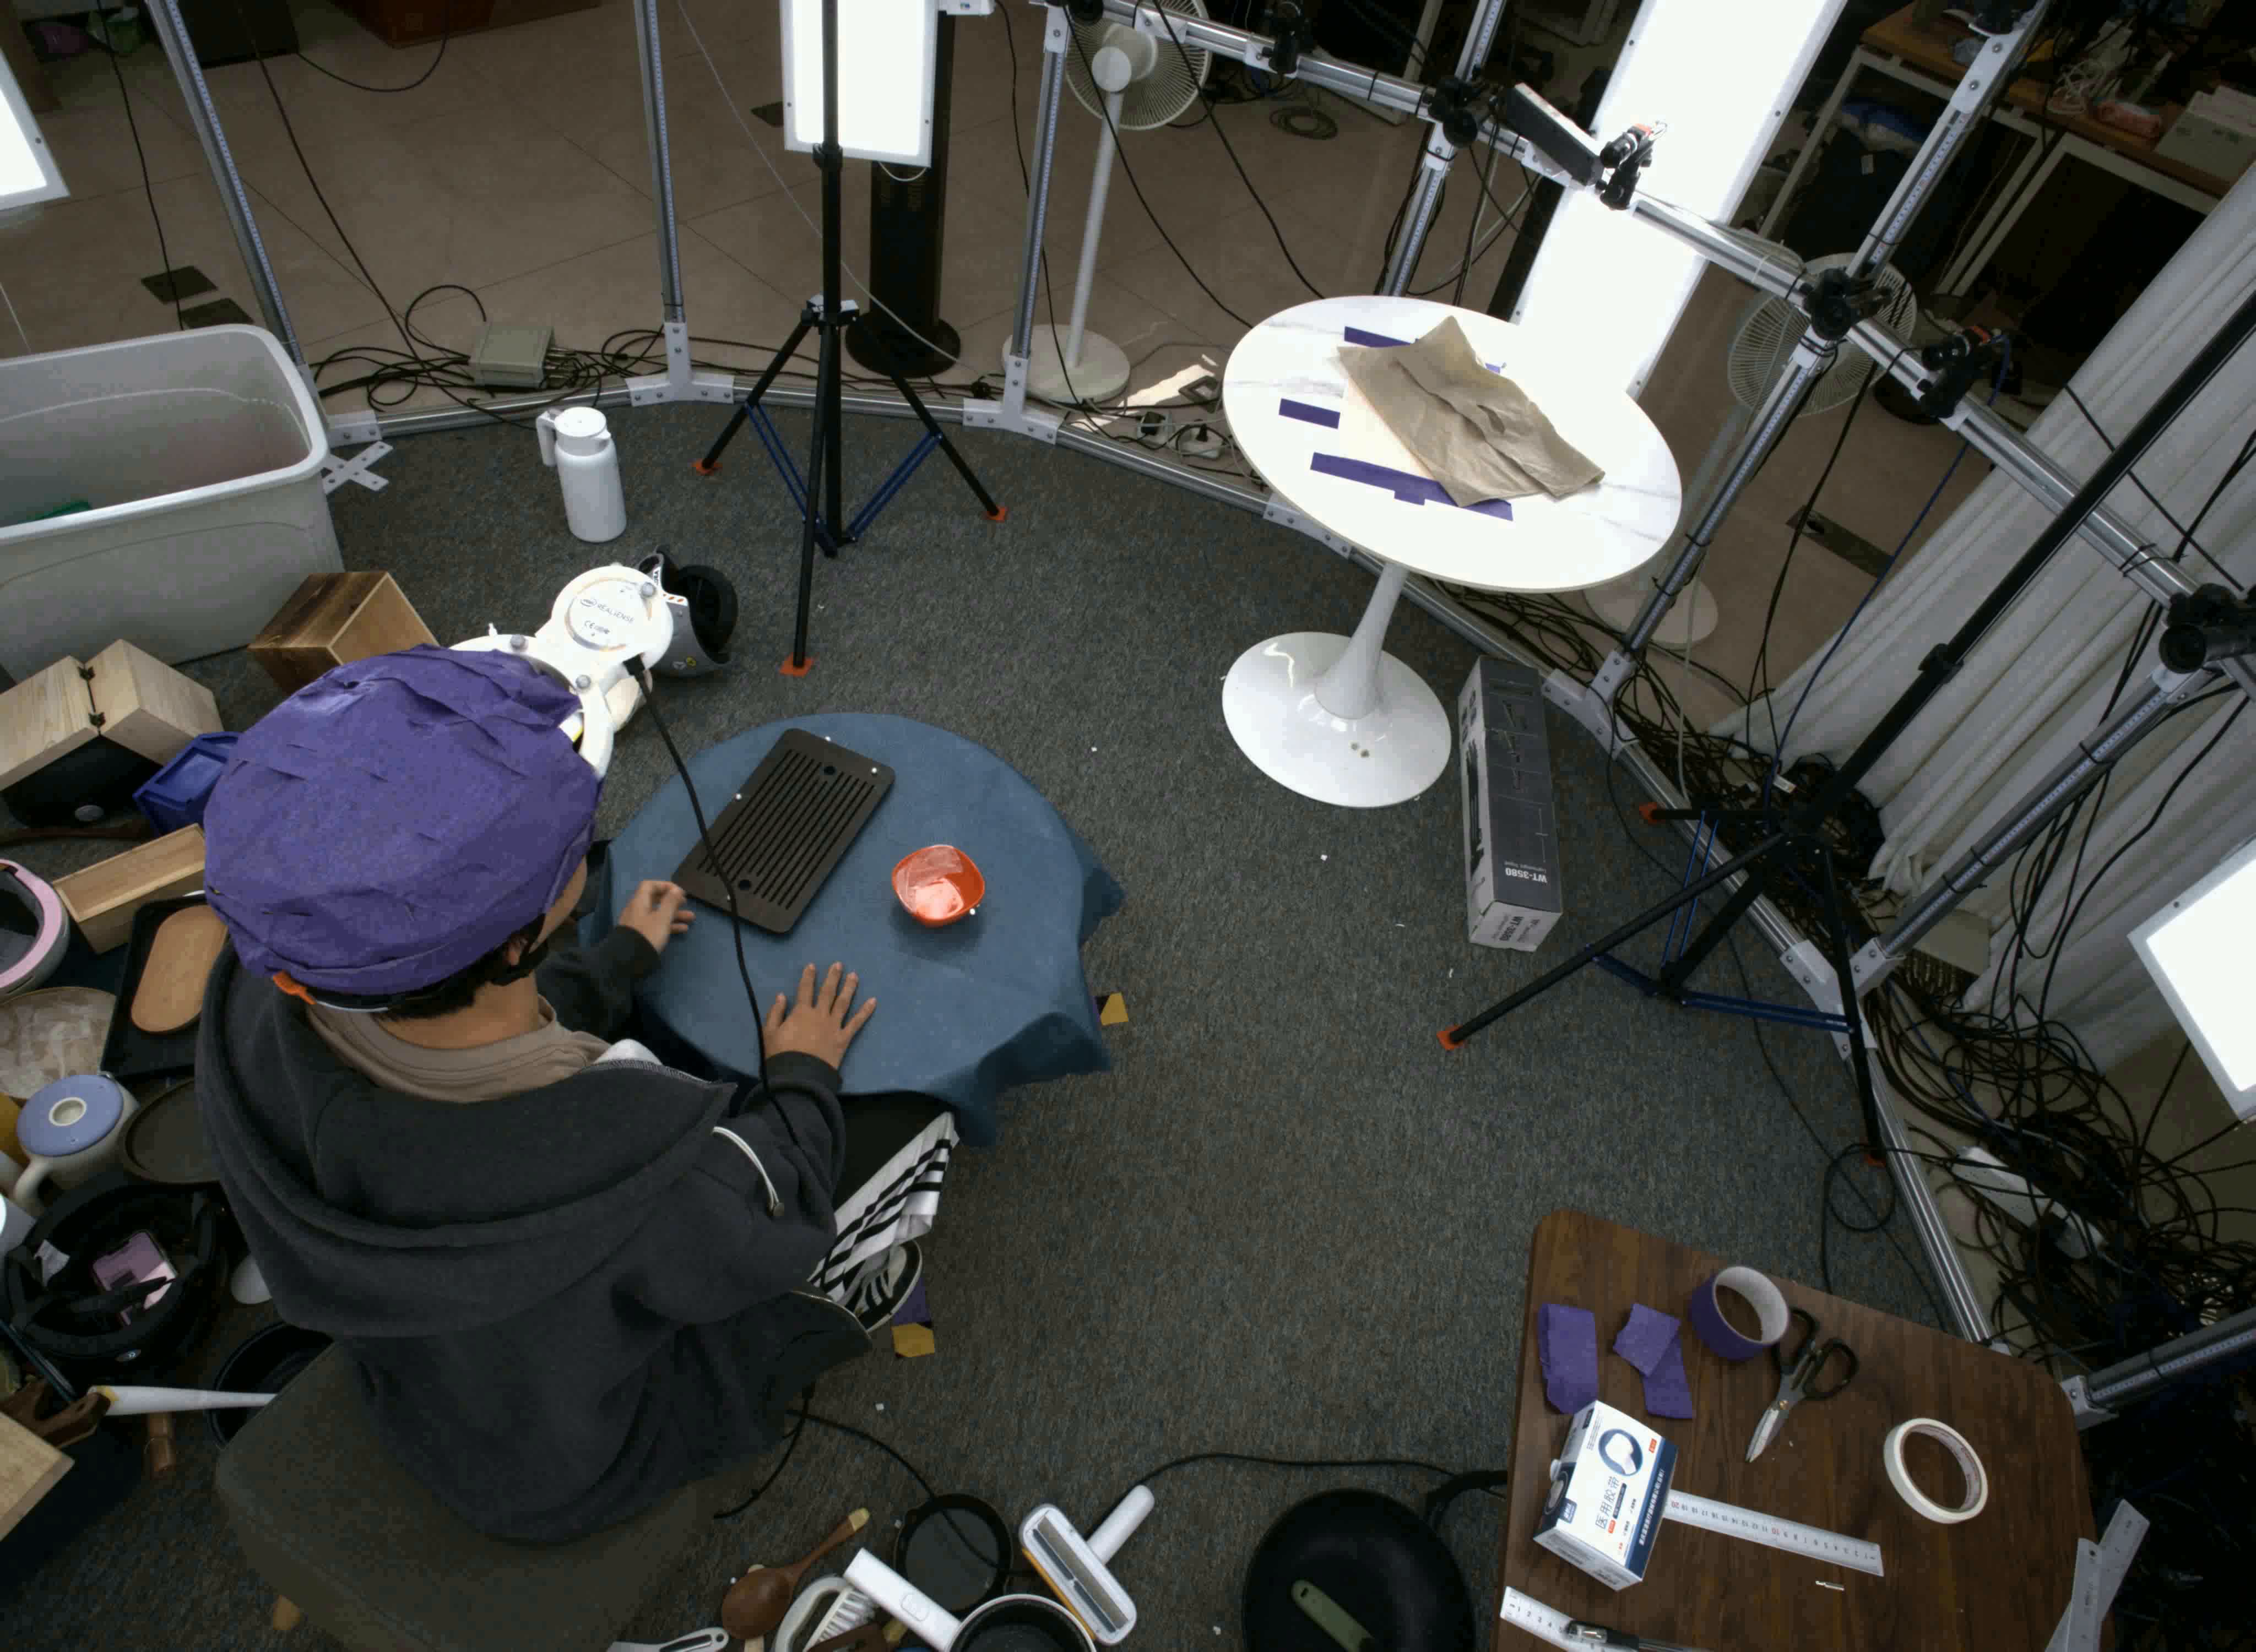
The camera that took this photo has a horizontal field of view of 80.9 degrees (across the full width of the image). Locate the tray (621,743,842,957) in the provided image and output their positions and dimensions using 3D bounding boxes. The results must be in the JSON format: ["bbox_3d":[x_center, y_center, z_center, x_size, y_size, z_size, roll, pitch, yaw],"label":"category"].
[{"bbox_3d":[-0.510,0.025,1.677,0.168,0.019,0.303,21,52,2],"label":"tray"}]

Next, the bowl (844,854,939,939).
[{"bbox_3d":[-0.301,0.097,1.654,0.119,0.052,0.117,8,52,-9],"label":"bowl"}]
